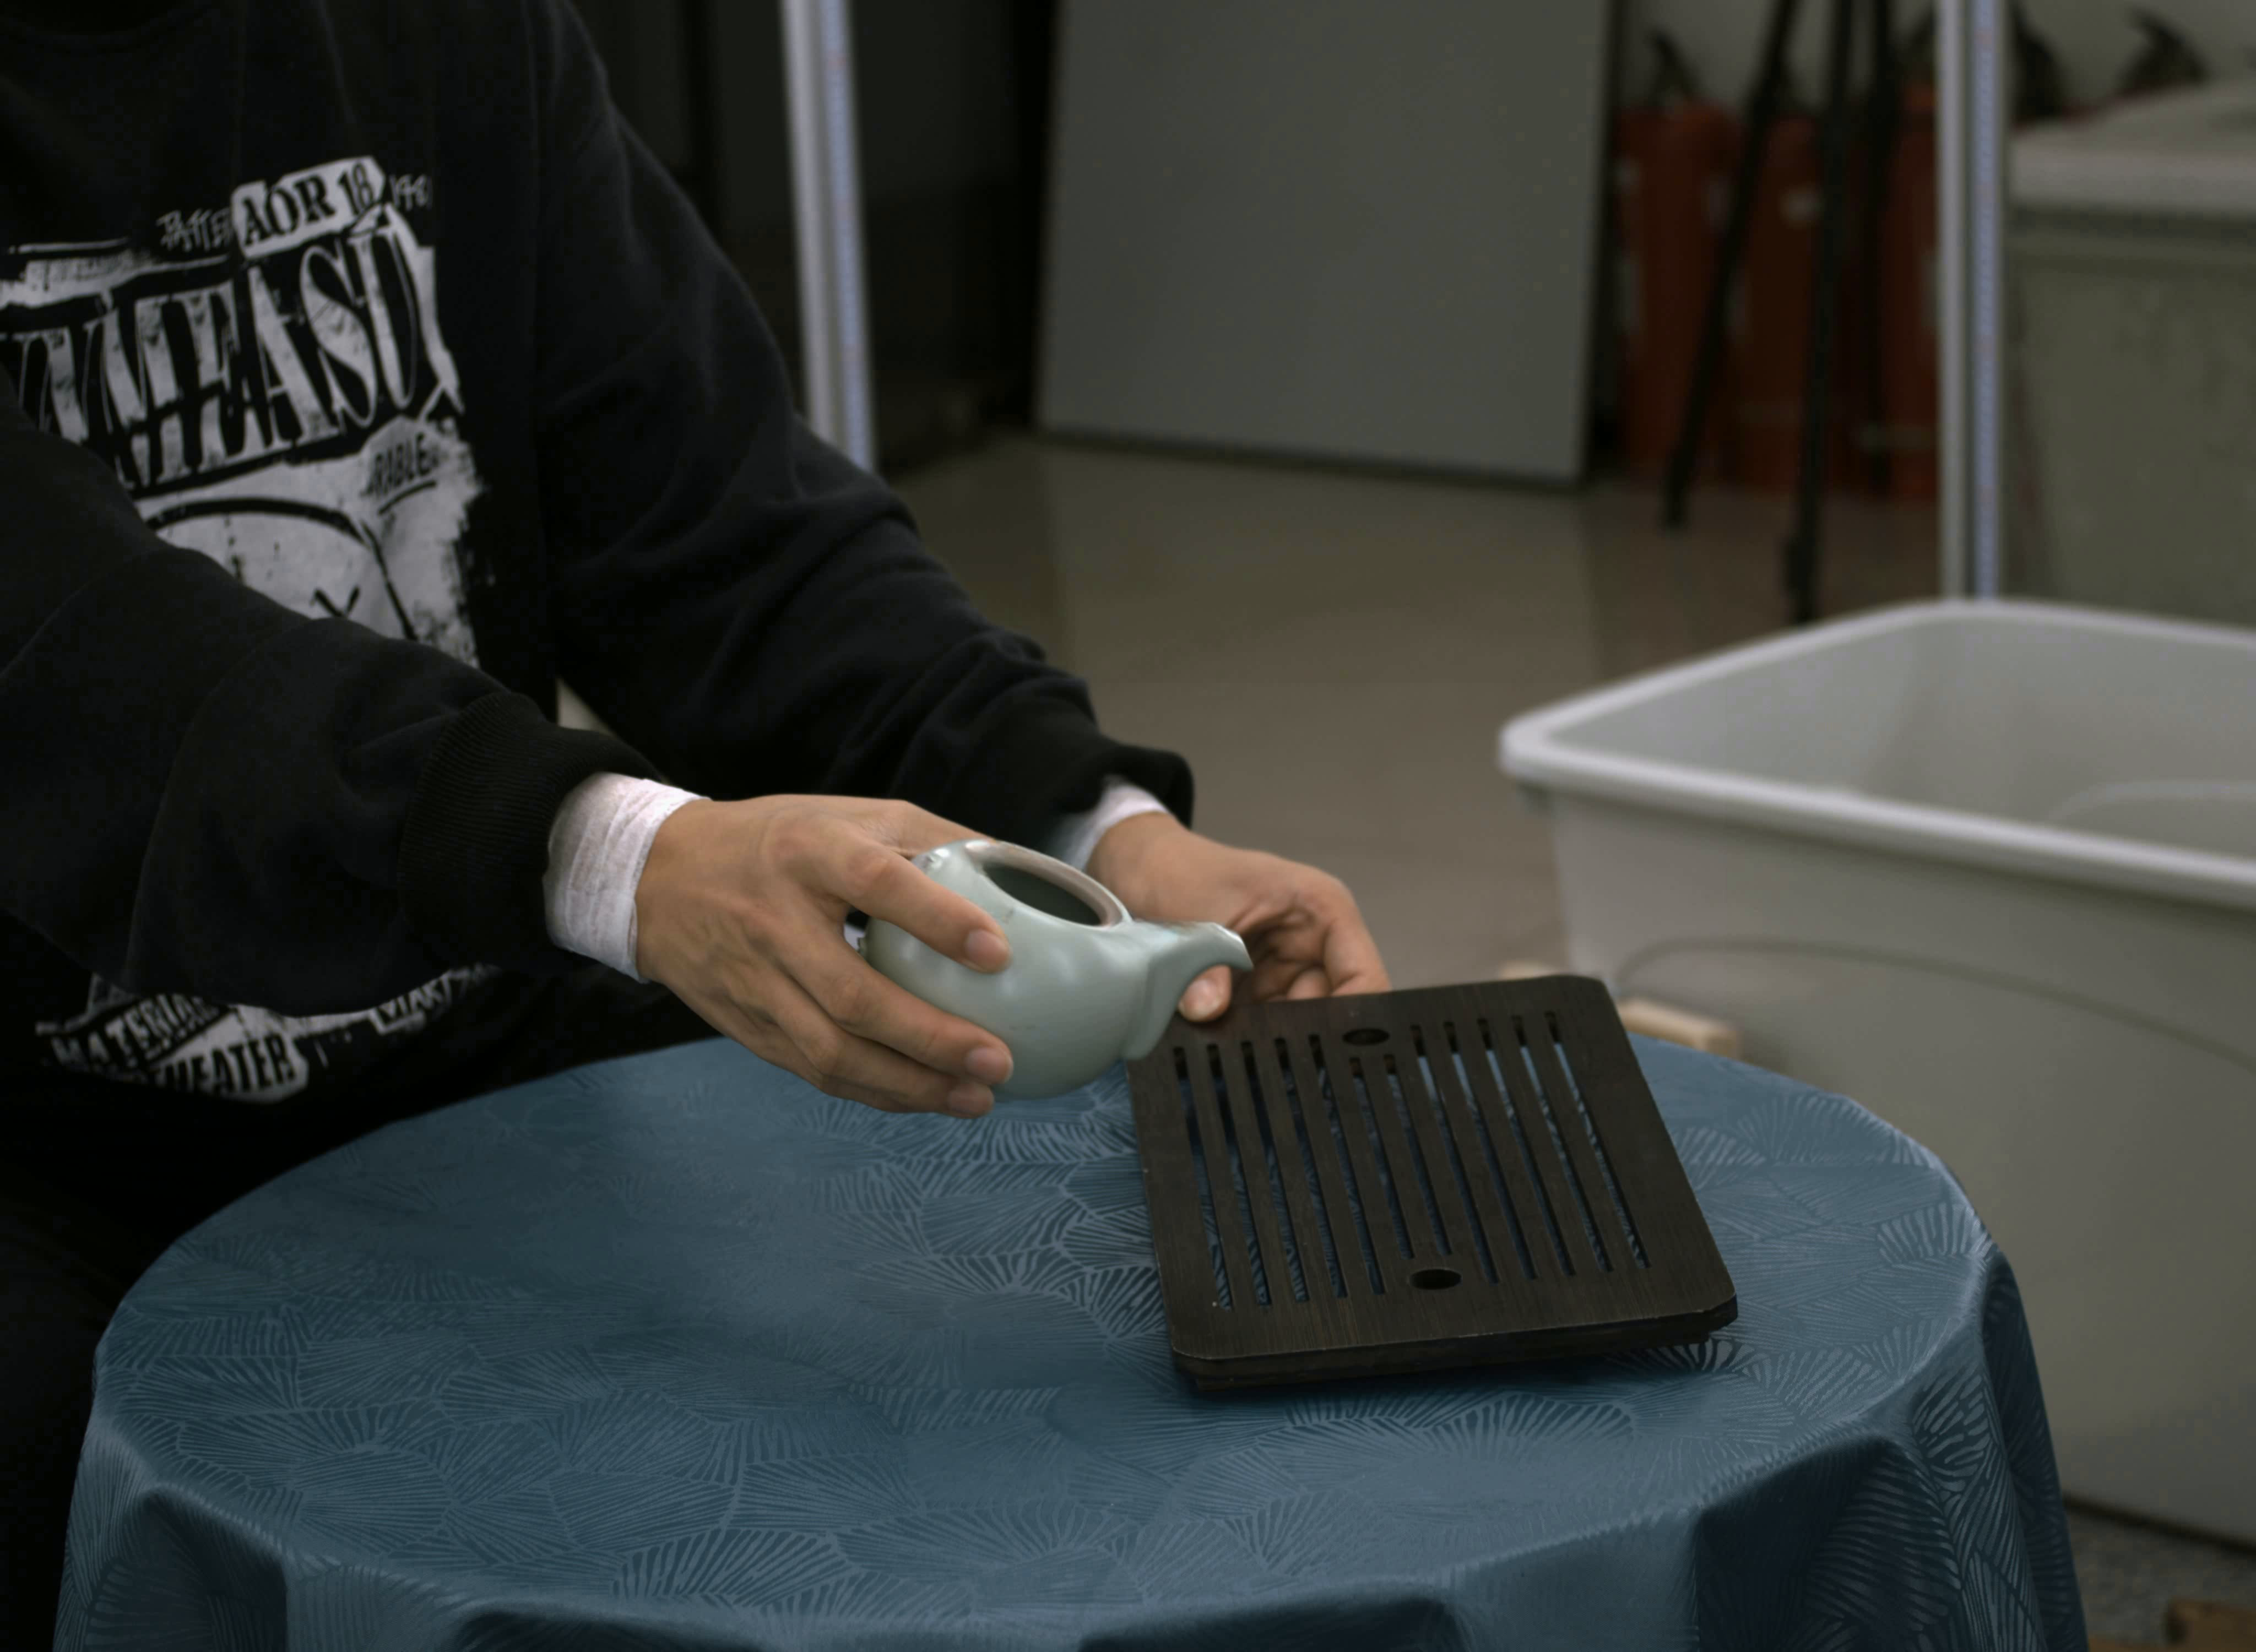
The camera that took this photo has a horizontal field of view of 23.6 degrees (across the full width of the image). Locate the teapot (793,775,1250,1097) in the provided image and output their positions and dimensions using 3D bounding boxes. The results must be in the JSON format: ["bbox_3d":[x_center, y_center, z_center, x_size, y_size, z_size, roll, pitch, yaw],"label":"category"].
[{"bbox_3d":[-0.039,0.040,1.638,0.141,0.075,0.089,22,16,-12],"label":"teapot"}]

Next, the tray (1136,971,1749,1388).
[{"bbox_3d":[0.093,0.109,1.714,0.168,0.019,0.307,-6,17,-1],"label":"tray"}]
